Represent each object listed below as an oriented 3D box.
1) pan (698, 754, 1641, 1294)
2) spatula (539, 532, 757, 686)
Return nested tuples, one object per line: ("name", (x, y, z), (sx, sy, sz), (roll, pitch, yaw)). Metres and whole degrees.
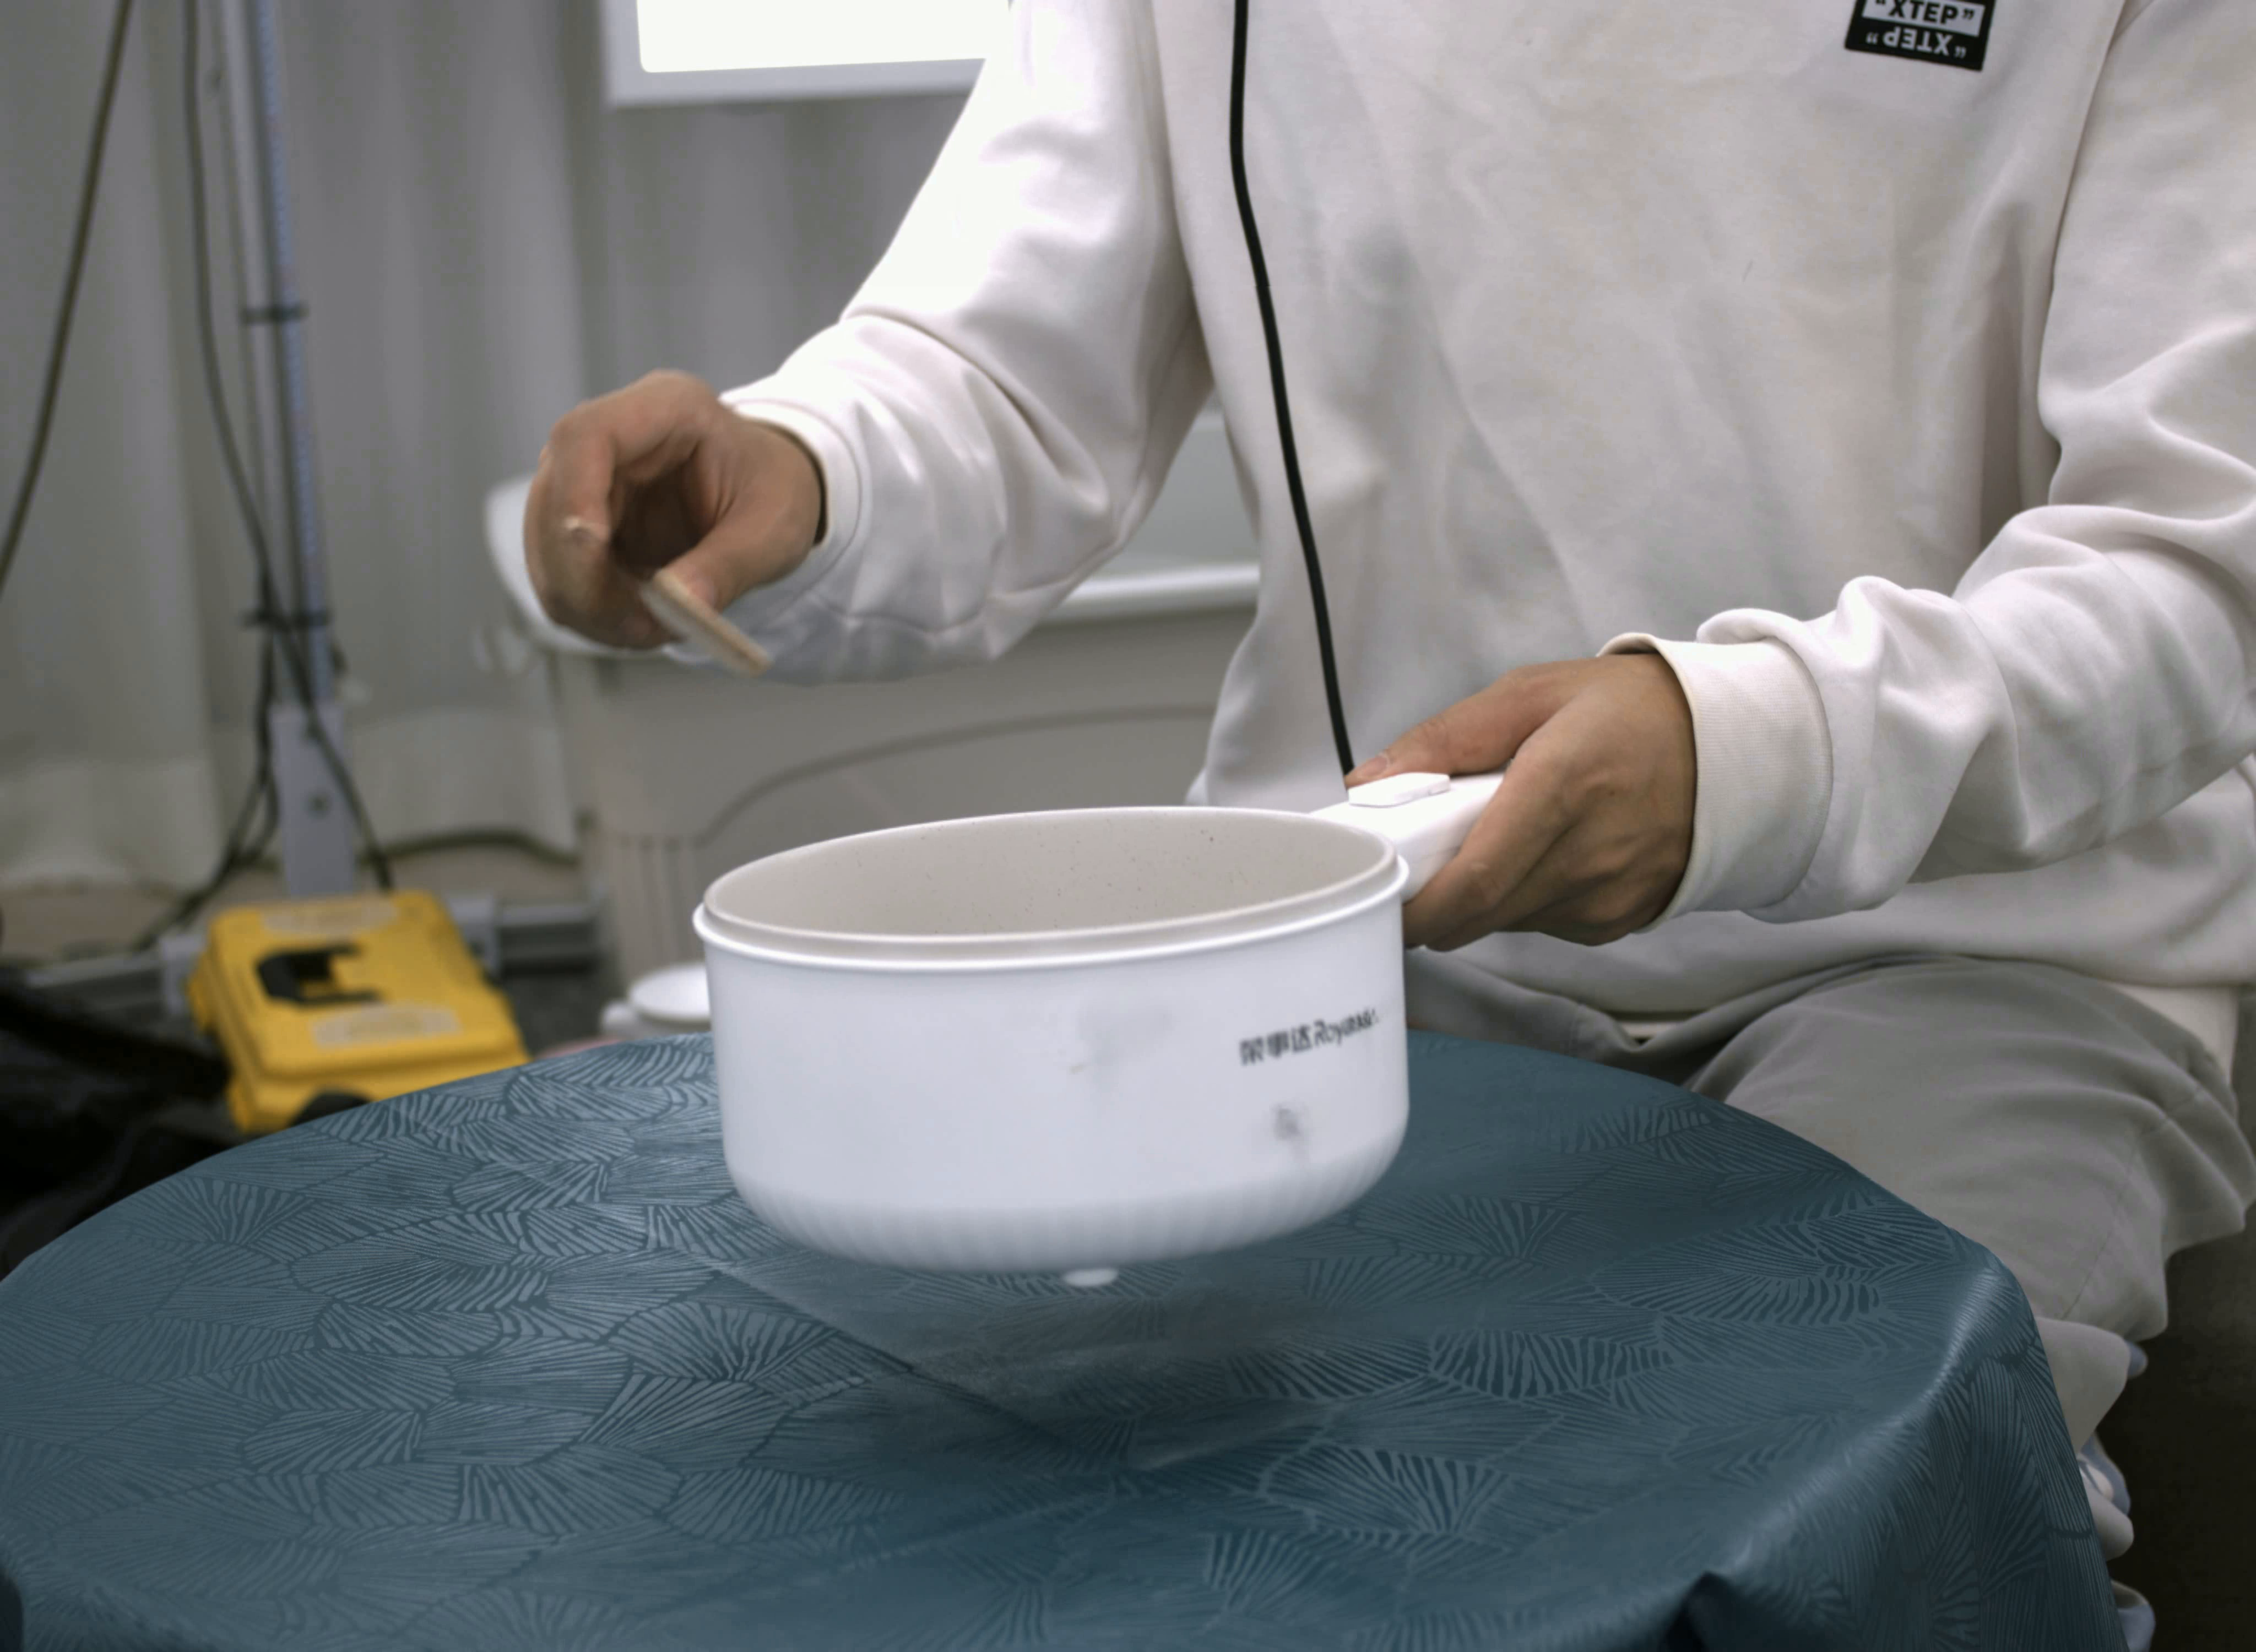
("pan", (0.032, 0.052, 1.595), (0.202, 0.102, 0.354), (3, 11, 40))
("spatula", (-0.150, -0.069, 1.675), (0.072, 0.010, 0.293), (35, -1, -7))
